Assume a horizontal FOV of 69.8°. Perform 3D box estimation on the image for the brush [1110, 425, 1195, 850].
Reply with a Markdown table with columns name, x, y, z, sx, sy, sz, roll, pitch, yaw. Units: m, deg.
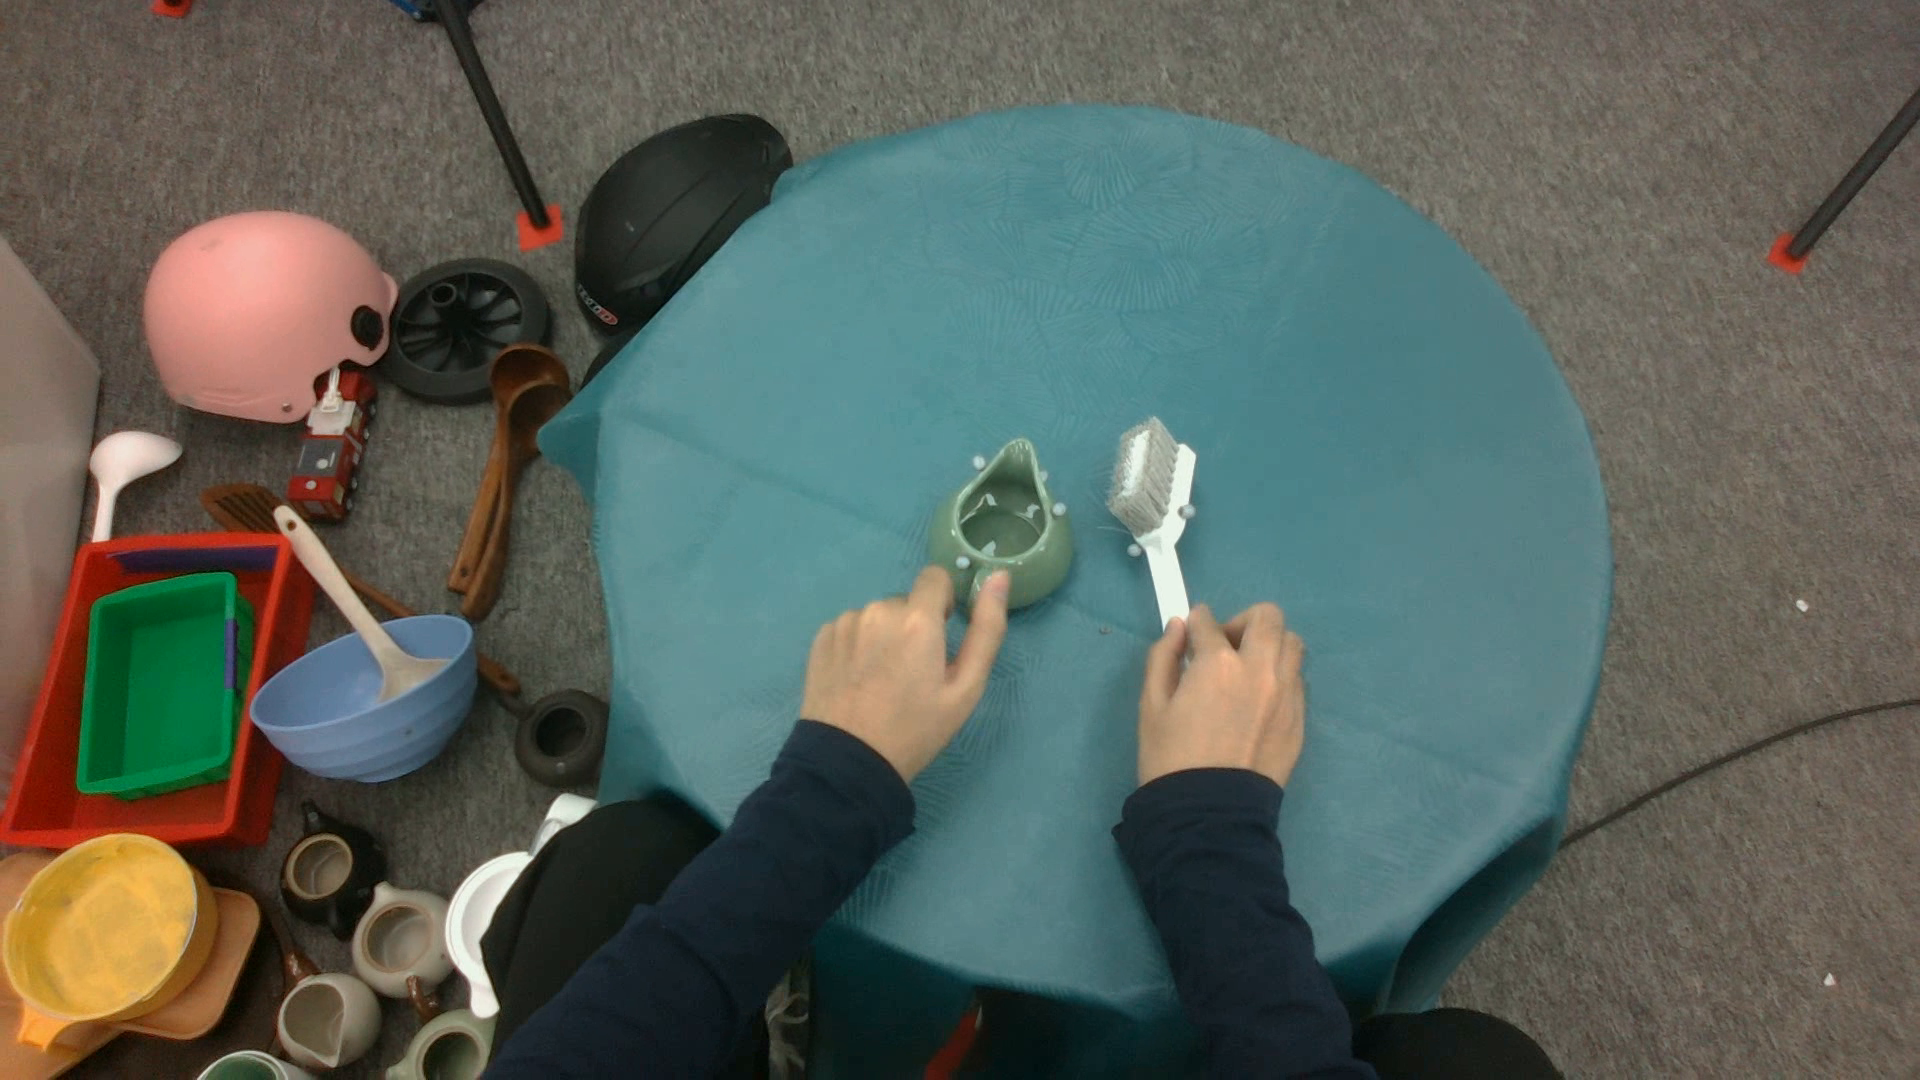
| name | x | y | z | sx | sy | sz | roll | pitch | yaw |
| --- | --- | --- | --- | --- | --- | --- | --- | --- | --- |
| brush | 0.108 | 0.048 | 0.771 | 0.034 | 0.050 | 0.244 | -17 | 59 | 37 |

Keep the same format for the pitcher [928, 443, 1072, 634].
| name | x | y | z | sx | sy | sz | roll | pitch | yaw |
| --- | --- | --- | --- | --- | --- | --- | --- | --- | --- |
| pitcher | 0.022 | 0.006 | 0.788 | 0.084 | 0.056 | 0.113 | 7 | 64 | 6 |
